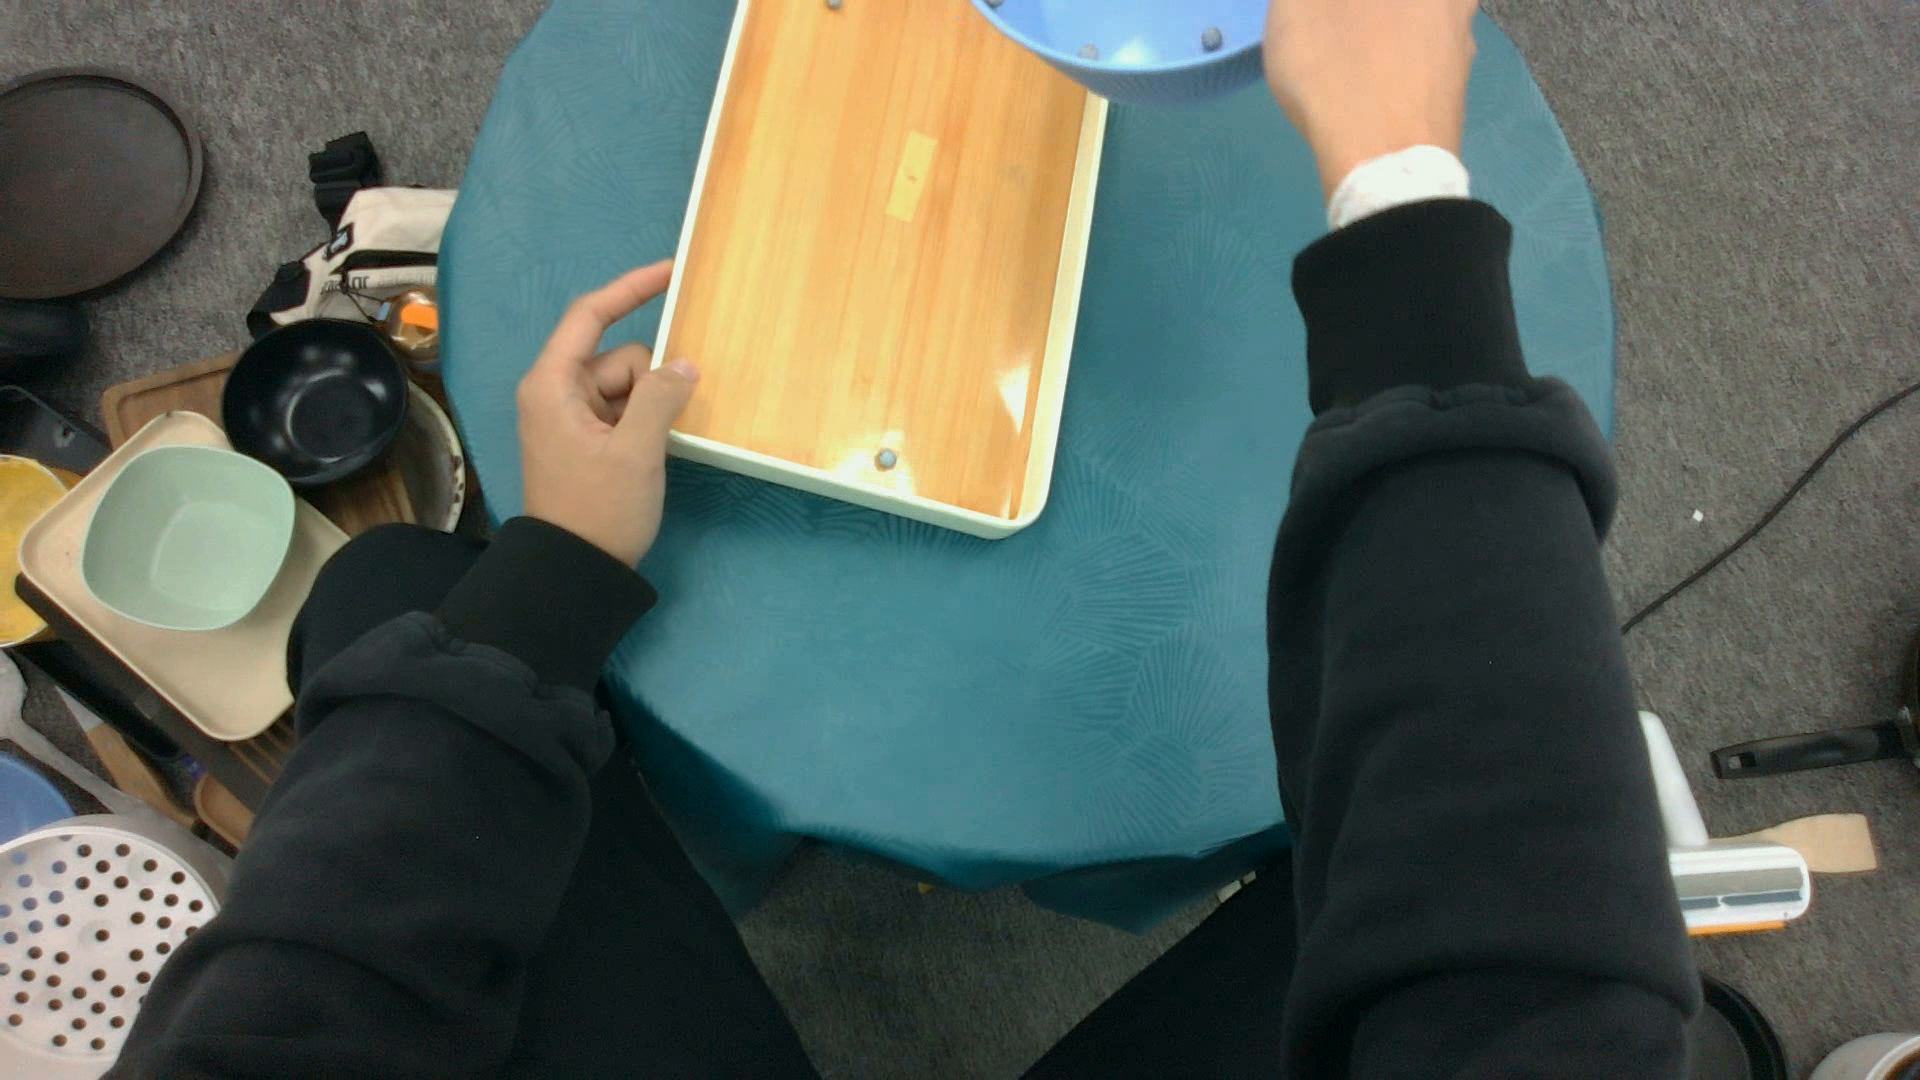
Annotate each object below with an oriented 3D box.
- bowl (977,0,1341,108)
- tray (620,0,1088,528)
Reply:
[{"bbox_3d":[0.087,-0.246,0.567,0.176,0.070,0.176,-3,70,10],"label":"bowl"},{"bbox_3d":[-0.041,-0.167,0.672,0.192,0.027,0.301,15,71,-16],"label":"tray"}]
